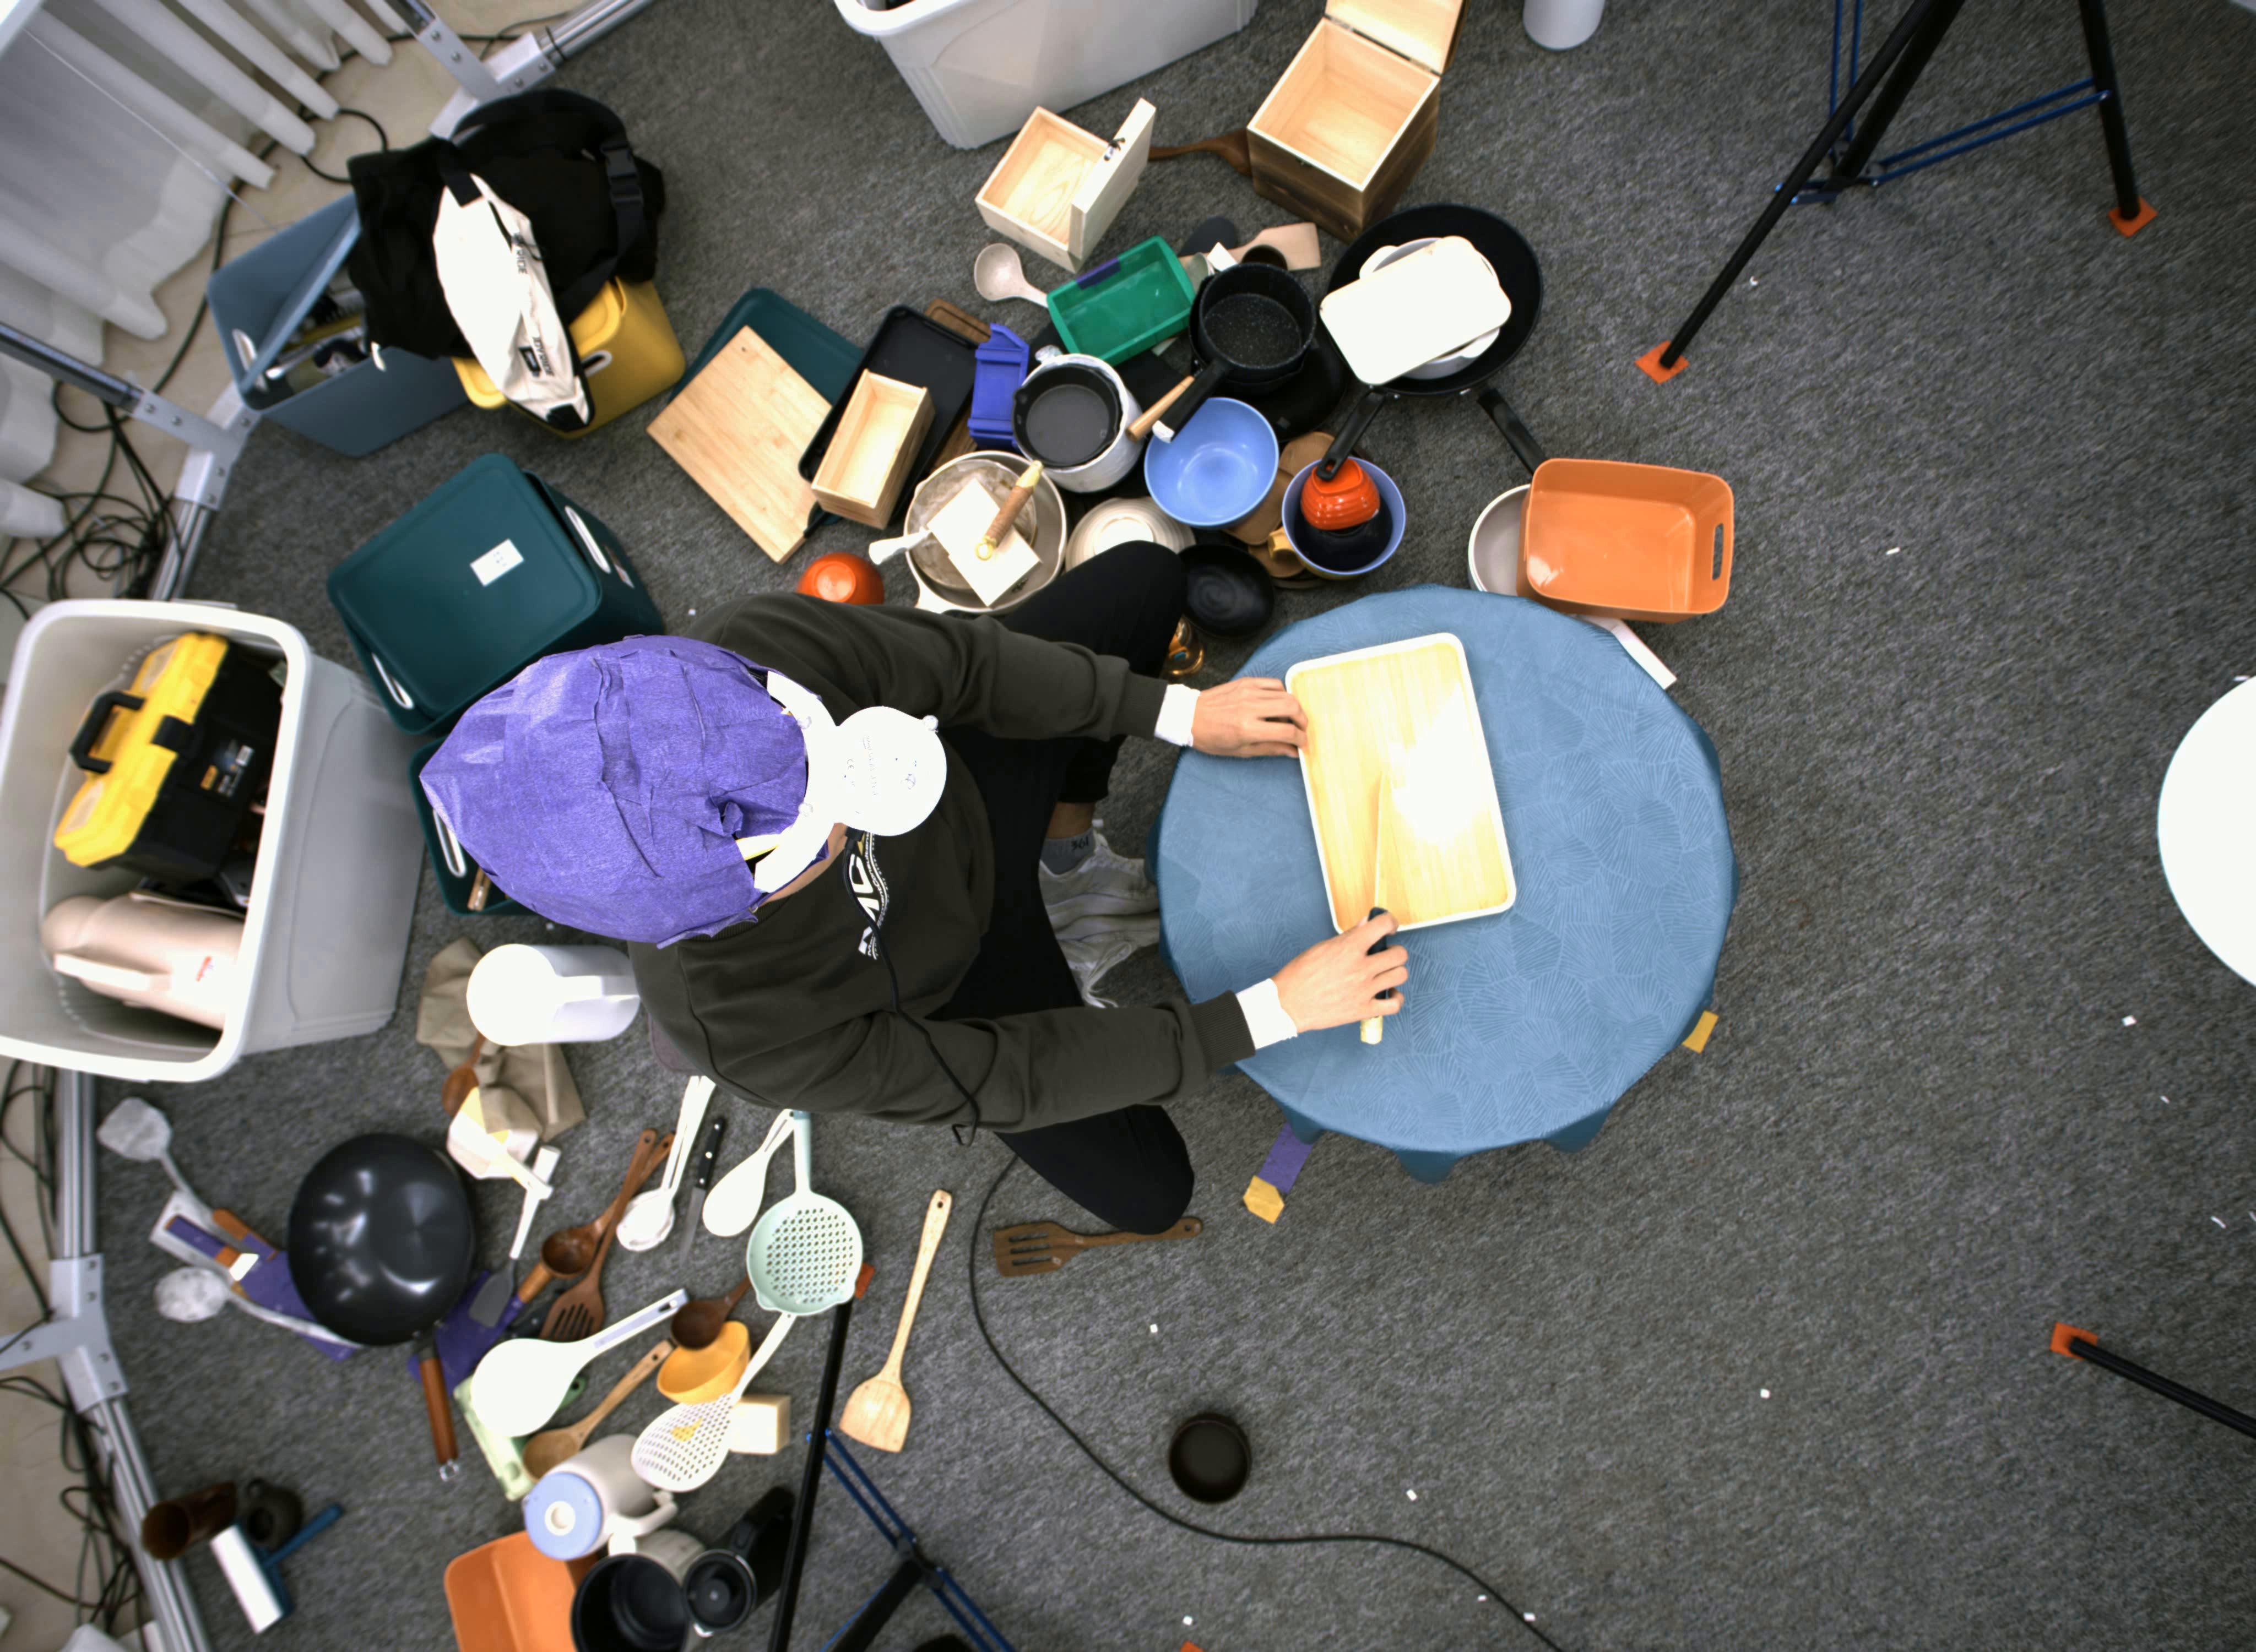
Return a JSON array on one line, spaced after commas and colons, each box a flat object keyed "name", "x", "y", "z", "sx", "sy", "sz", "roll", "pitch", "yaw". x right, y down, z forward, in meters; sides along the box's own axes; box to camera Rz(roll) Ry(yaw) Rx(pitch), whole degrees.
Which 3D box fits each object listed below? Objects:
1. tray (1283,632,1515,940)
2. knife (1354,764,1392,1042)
[{"name": "tray", "x": 0.283, "y": -0.043, "z": 1.449, "sx": 0.192, "sy": 0.027, "sz": 0.298, "roll": -11, "pitch": 85, "yaw": 10}, {"name": "knife", "x": 0.256, "y": 0.075, "z": 1.412, "sx": 0.027, "sy": 0.081, "sz": 0.287, "roll": 4, "pitch": 82, "yaw": 19}]
